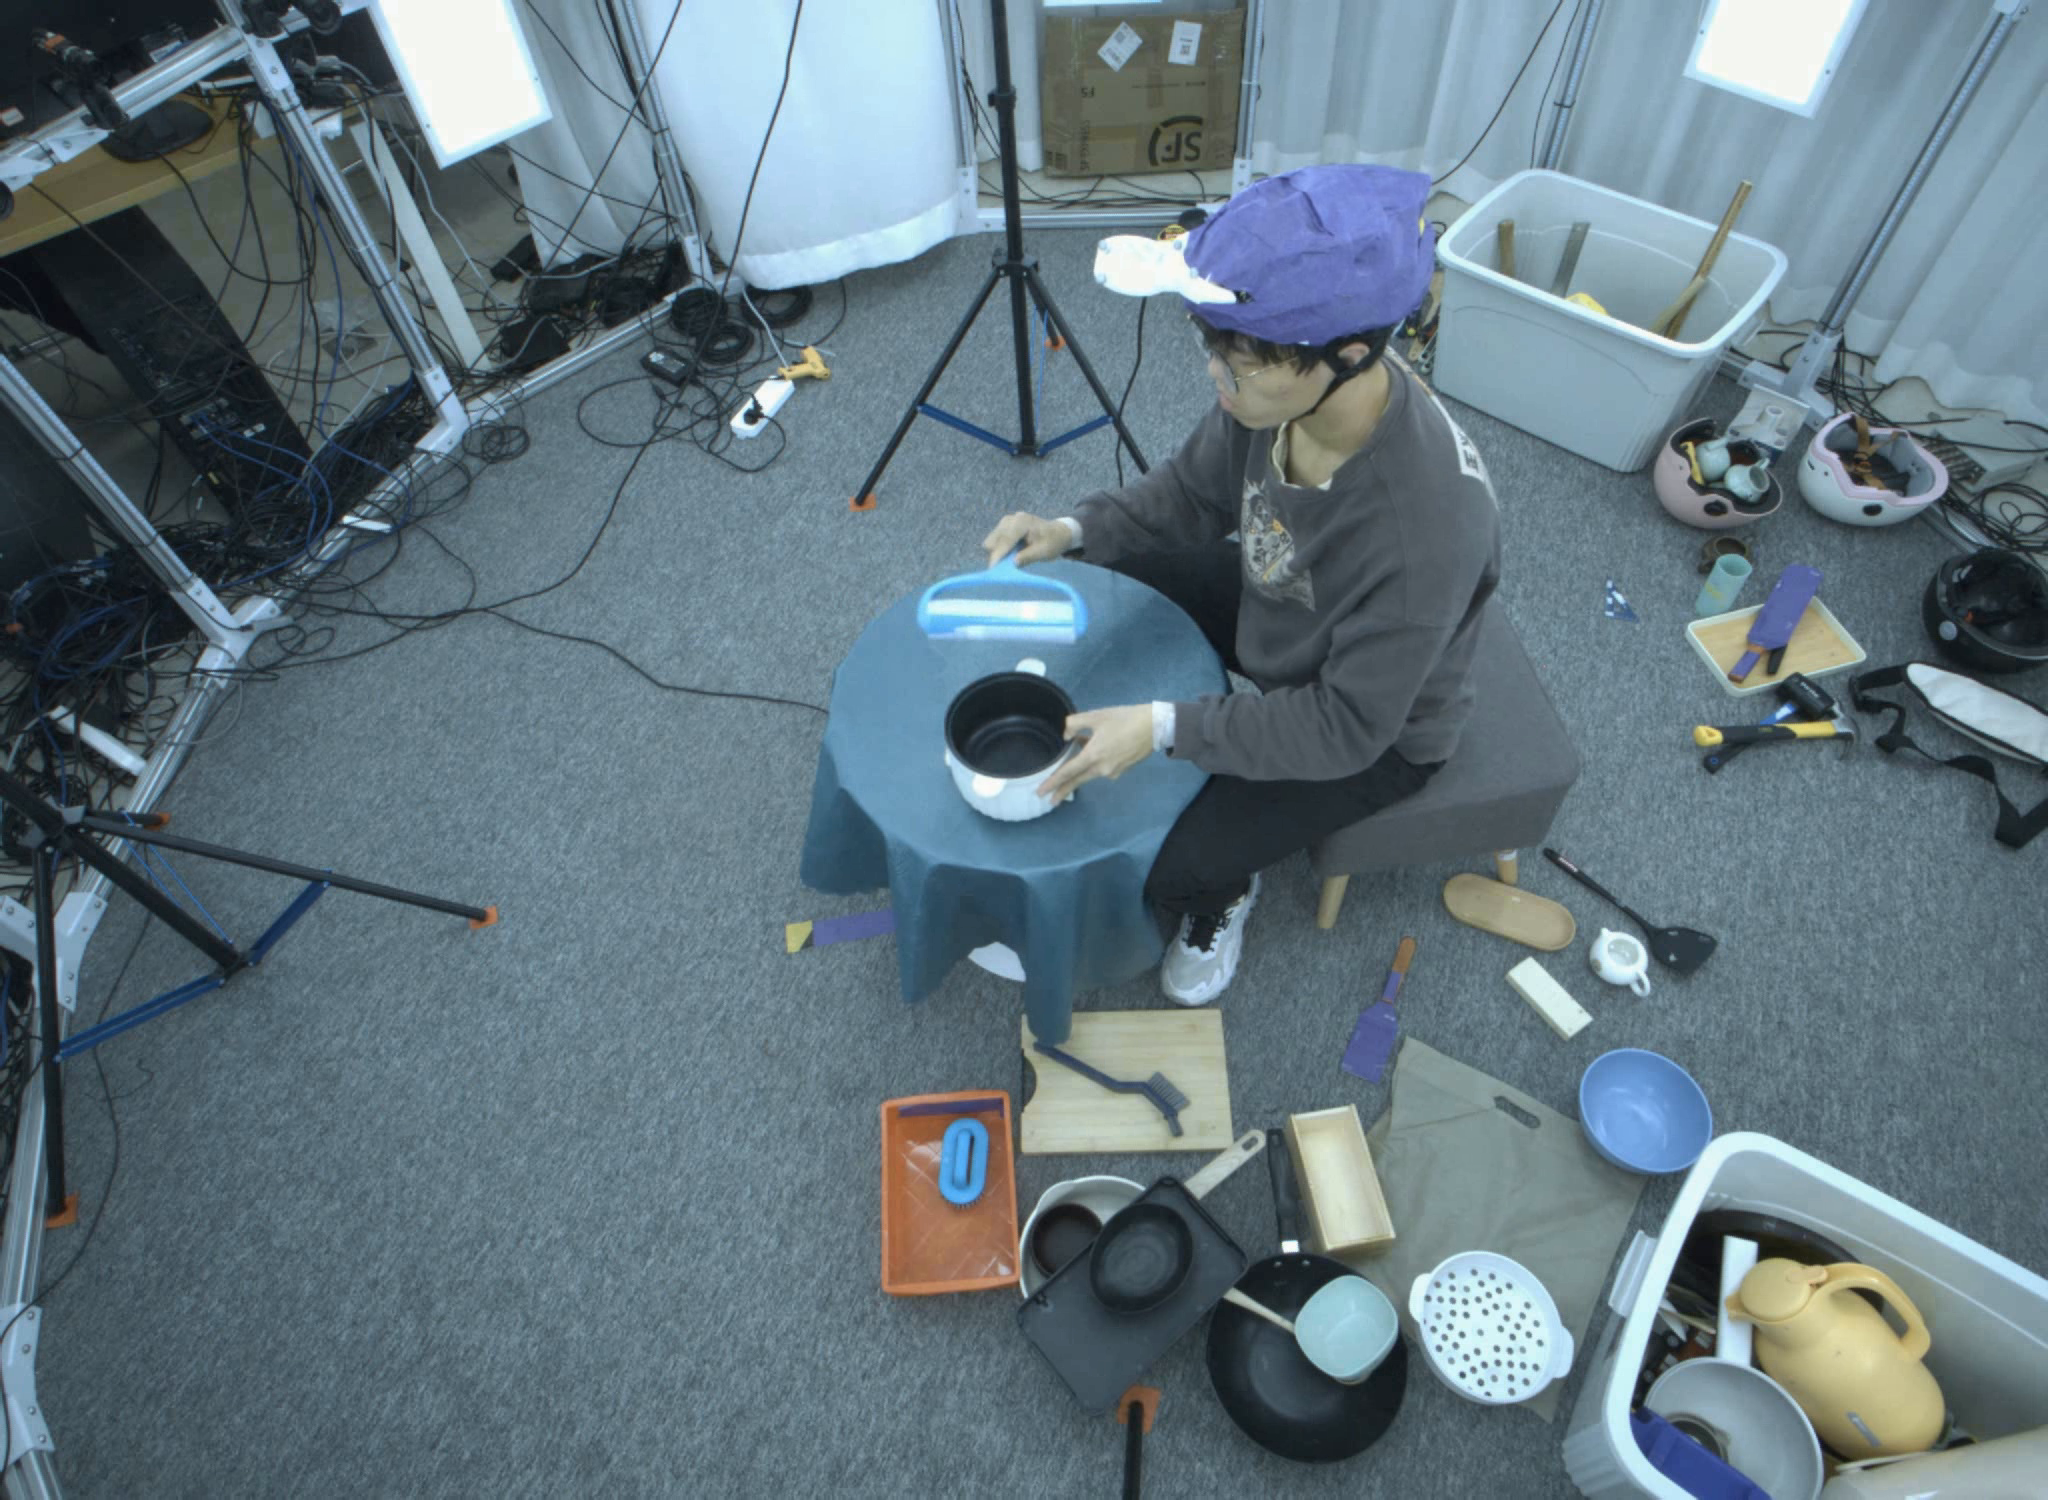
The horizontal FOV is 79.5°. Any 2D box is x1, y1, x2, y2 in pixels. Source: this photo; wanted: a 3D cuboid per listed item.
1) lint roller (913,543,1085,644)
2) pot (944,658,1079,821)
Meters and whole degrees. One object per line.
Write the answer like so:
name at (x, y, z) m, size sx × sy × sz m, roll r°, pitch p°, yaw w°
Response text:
lint roller at (-0.031, -0.224, 1.655) m, size 0.228 × 0.068 × 0.179 m, roll 0°, pitch 63°, yaw 4°
pot at (-0.020, 0.002, 1.697) m, size 0.189 × 0.144 × 0.239 m, roll 12°, pitch 54°, yaw 8°
